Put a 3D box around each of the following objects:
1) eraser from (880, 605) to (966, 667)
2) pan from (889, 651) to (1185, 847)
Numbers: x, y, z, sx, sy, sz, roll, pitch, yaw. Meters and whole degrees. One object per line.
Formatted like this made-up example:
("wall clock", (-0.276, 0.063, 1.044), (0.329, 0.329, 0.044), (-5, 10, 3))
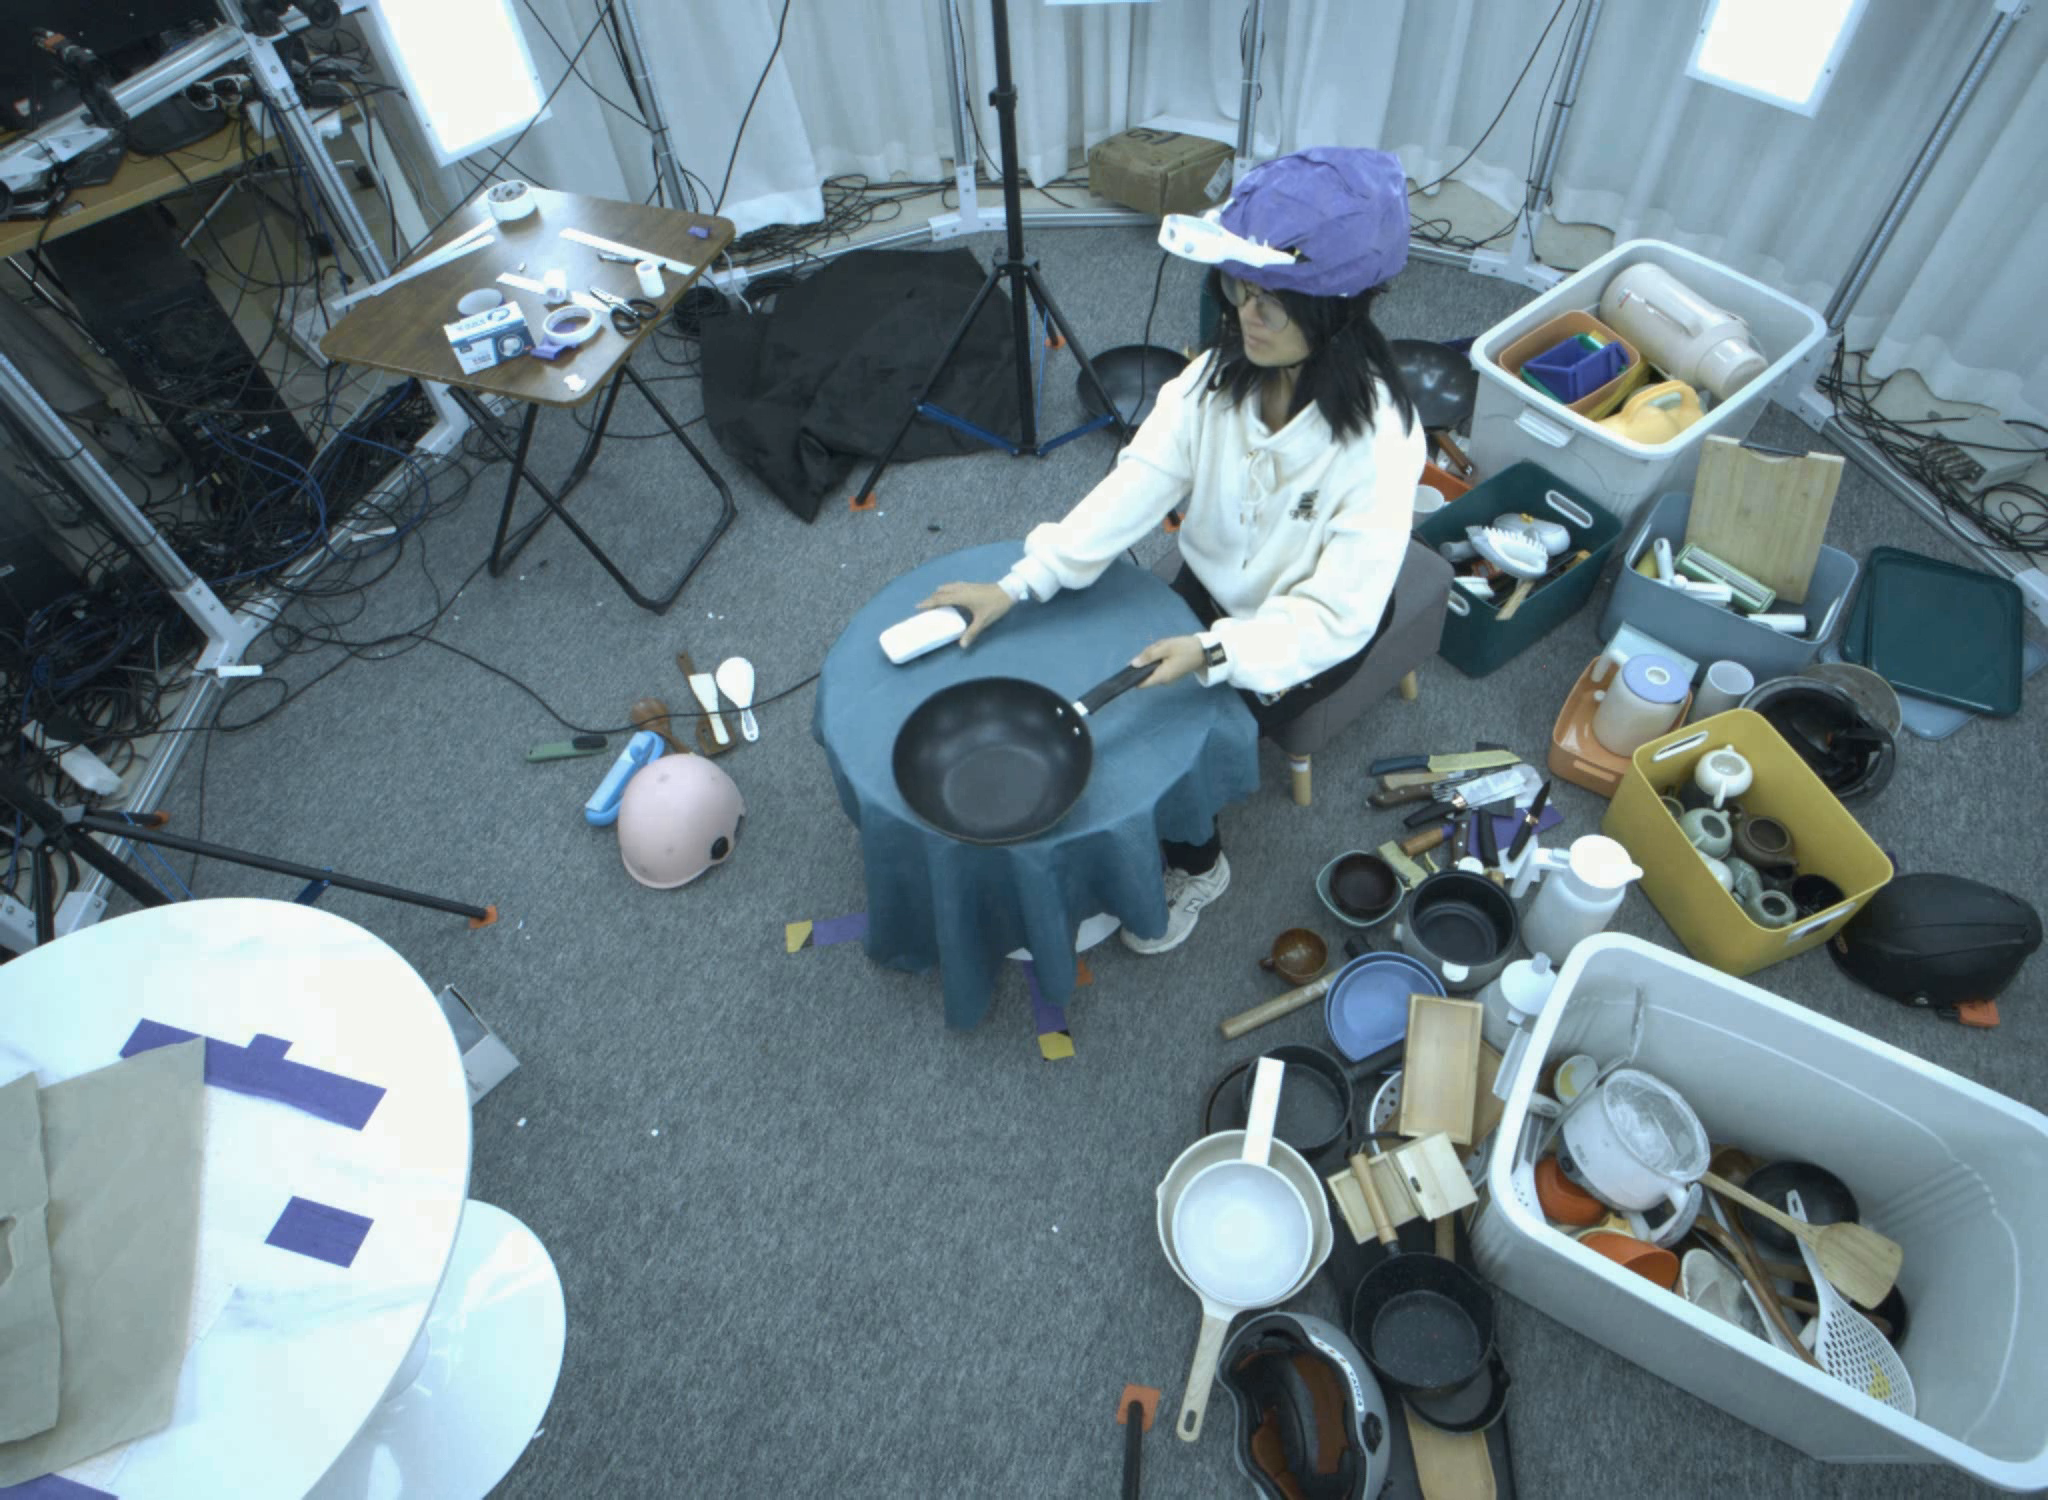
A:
("eraser", (-0.155, -0.177, 1.900), (0.132, 0.035, 0.062), (-26, 61, -15))
("pan", (0.032, -0.015, 1.746), (0.467, 0.088, 0.283), (-30, 59, -19))
